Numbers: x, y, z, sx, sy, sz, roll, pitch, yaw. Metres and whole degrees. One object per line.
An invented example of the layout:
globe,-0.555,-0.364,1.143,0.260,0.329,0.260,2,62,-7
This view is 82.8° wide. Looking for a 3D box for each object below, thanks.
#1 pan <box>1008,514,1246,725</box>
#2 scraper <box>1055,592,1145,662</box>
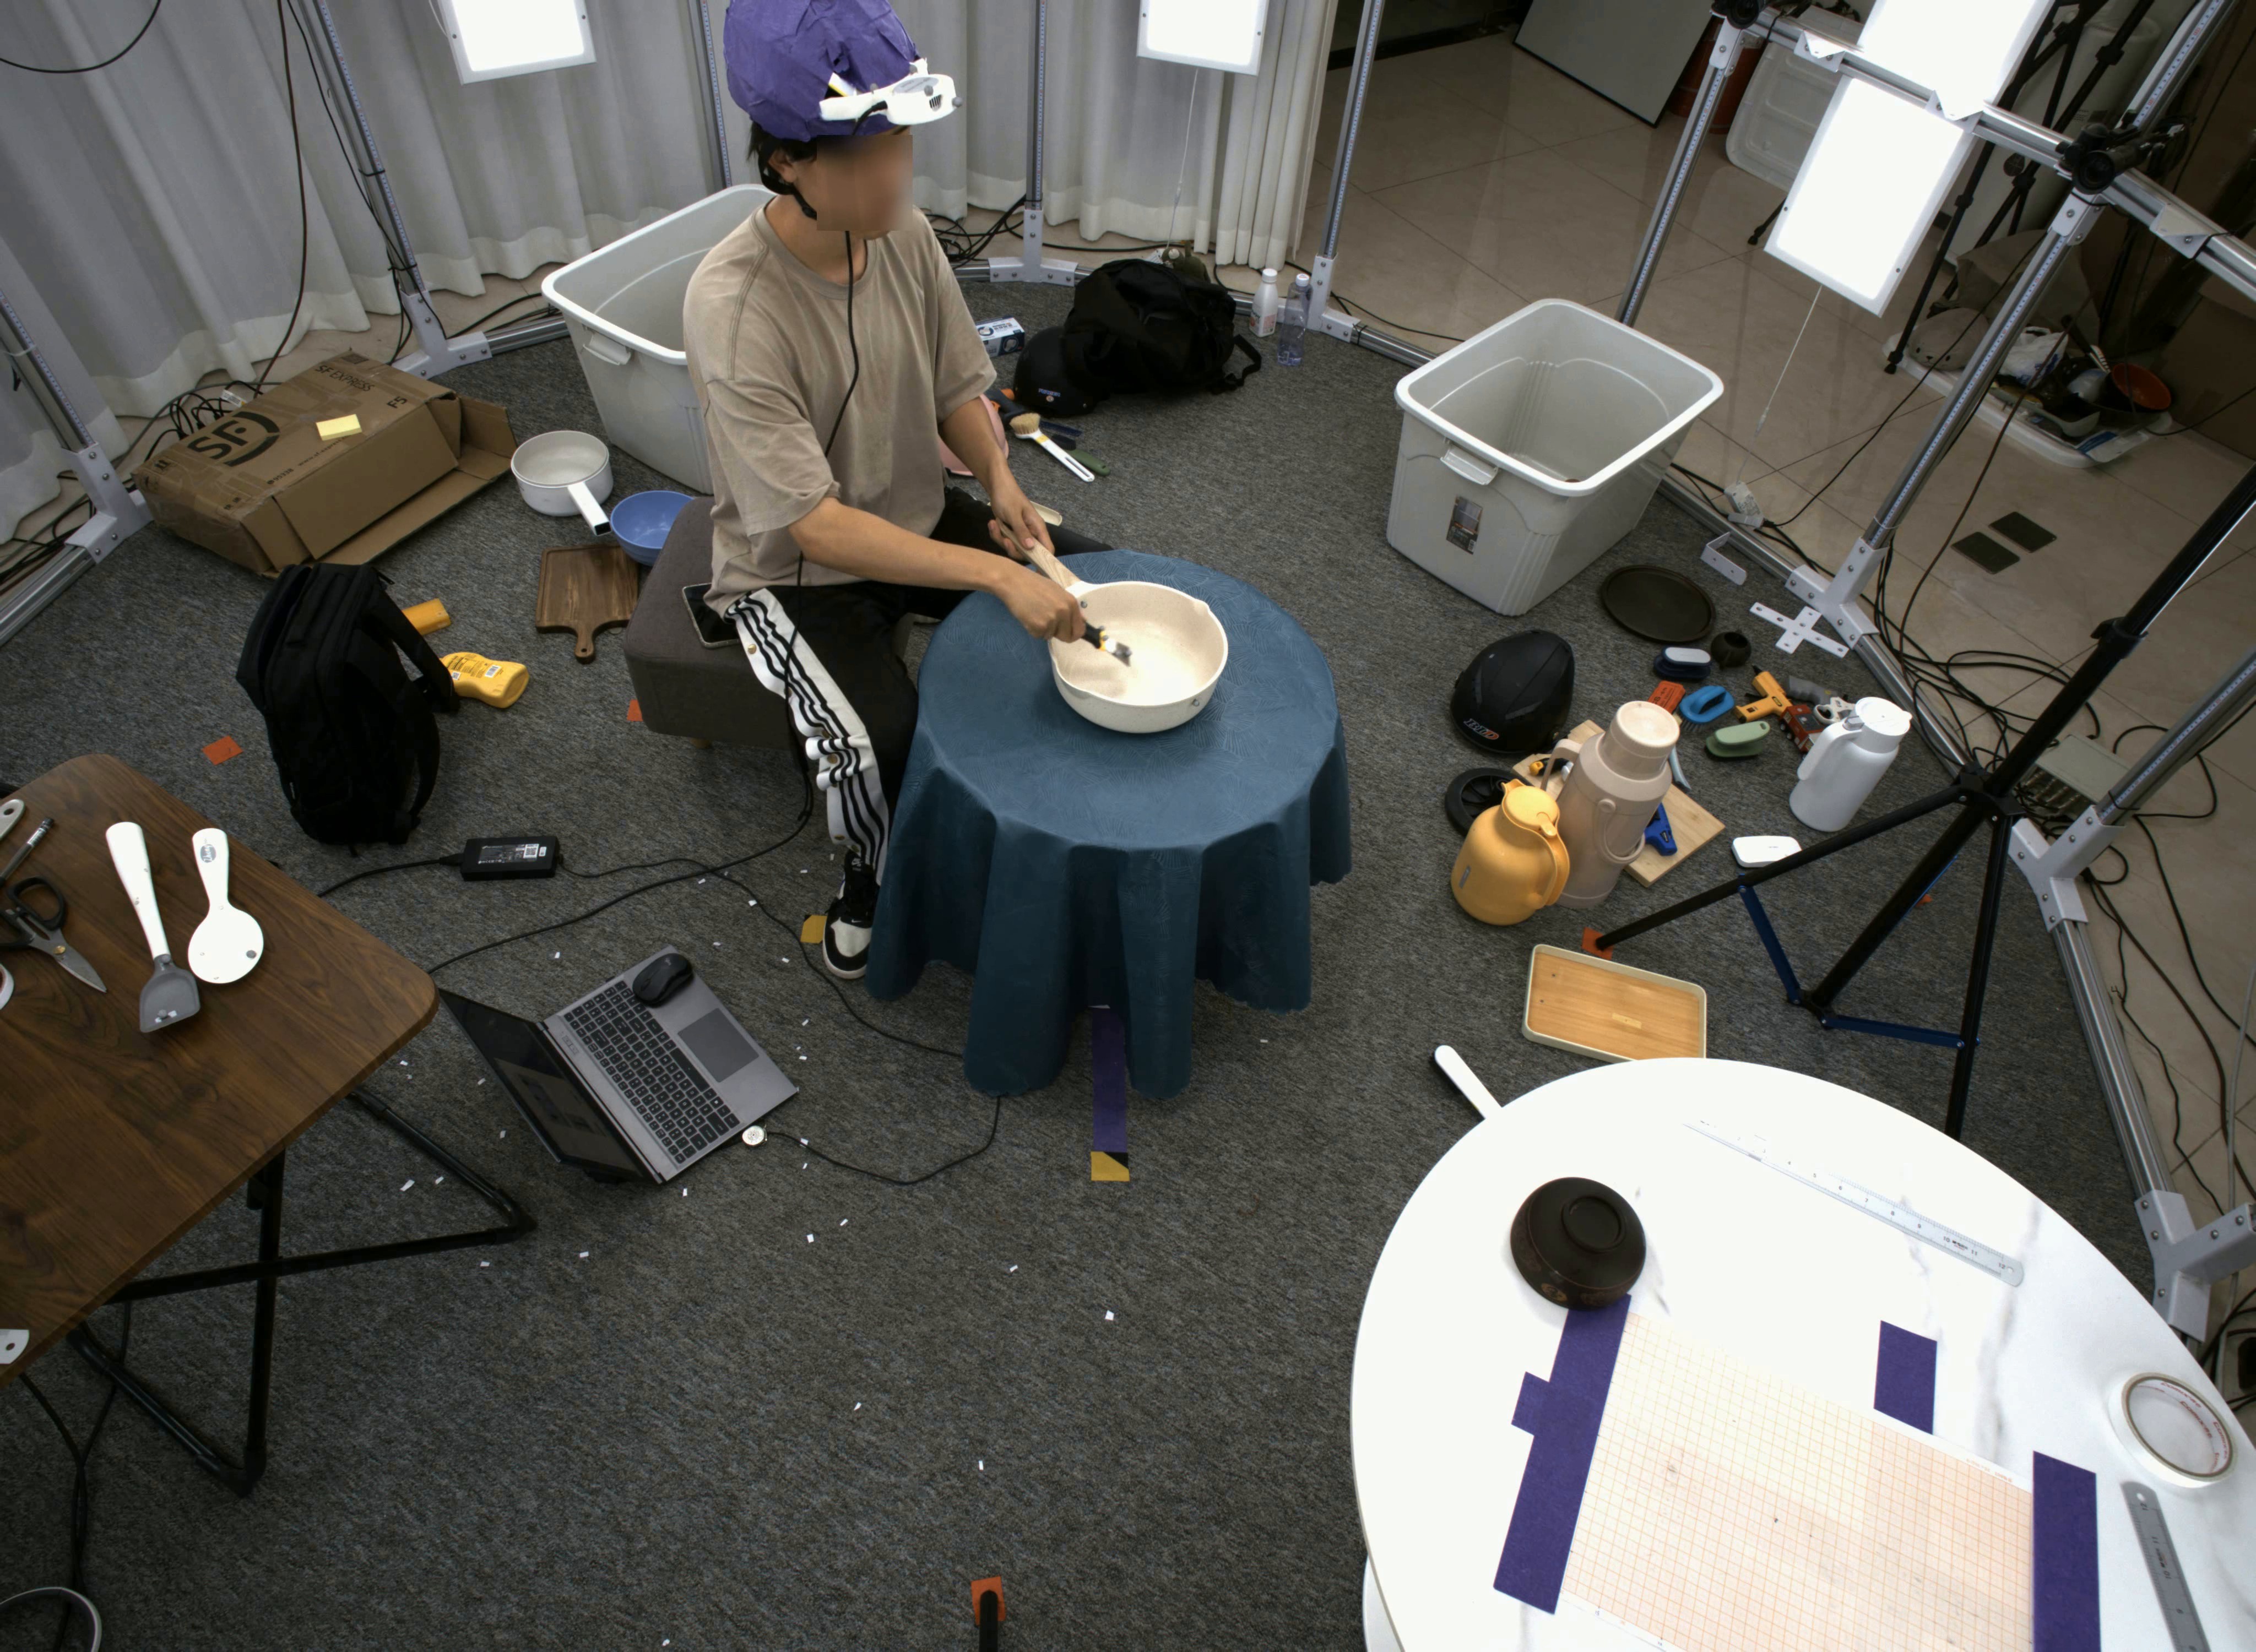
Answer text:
pan,-0.024,-0.303,1.855,0.265,0.099,0.442,-34,59,-27
scraper,-0.036,-0.274,1.764,0.168,0.015,0.039,25,55,-40
